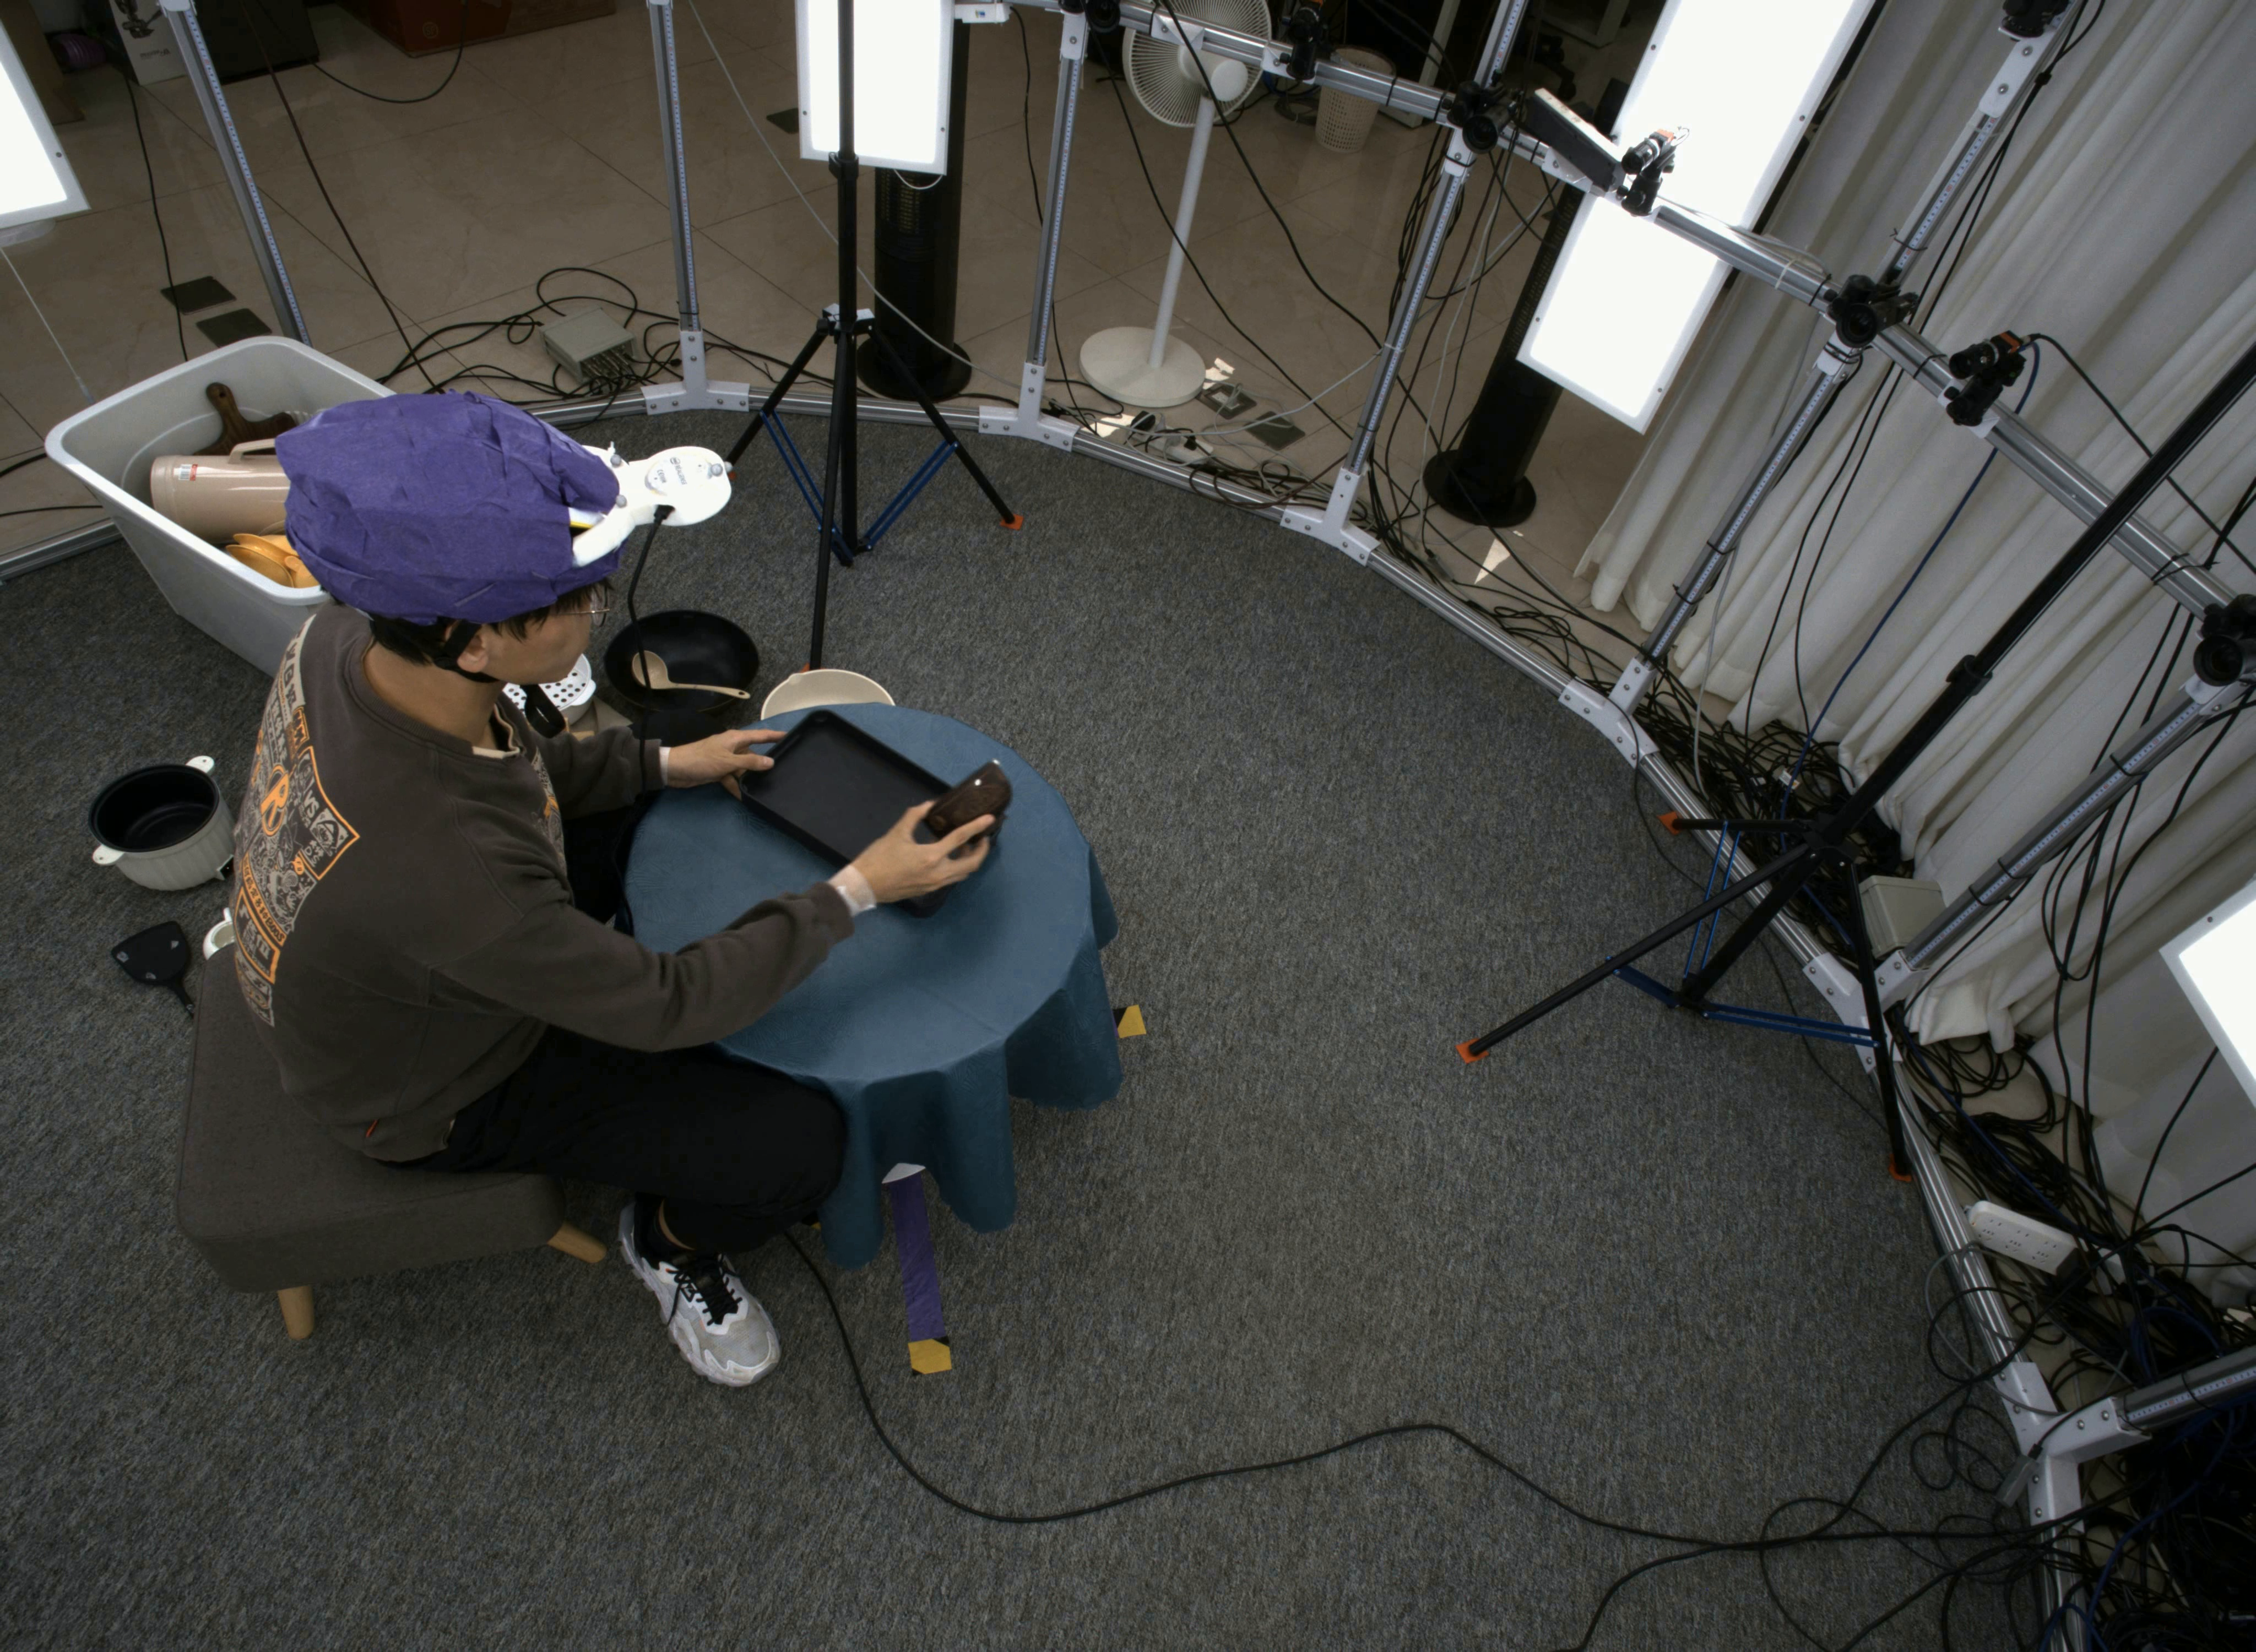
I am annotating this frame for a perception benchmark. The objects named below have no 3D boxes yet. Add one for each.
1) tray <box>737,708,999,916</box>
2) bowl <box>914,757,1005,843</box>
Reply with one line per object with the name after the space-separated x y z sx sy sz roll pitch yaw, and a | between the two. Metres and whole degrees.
-0.347 -0.023 1.743 0.314 0.037 0.183 31 54 5 | tray
-0.202 -0.024 1.629 0.071 0.116 0.118 52 54 -10 | bowl
